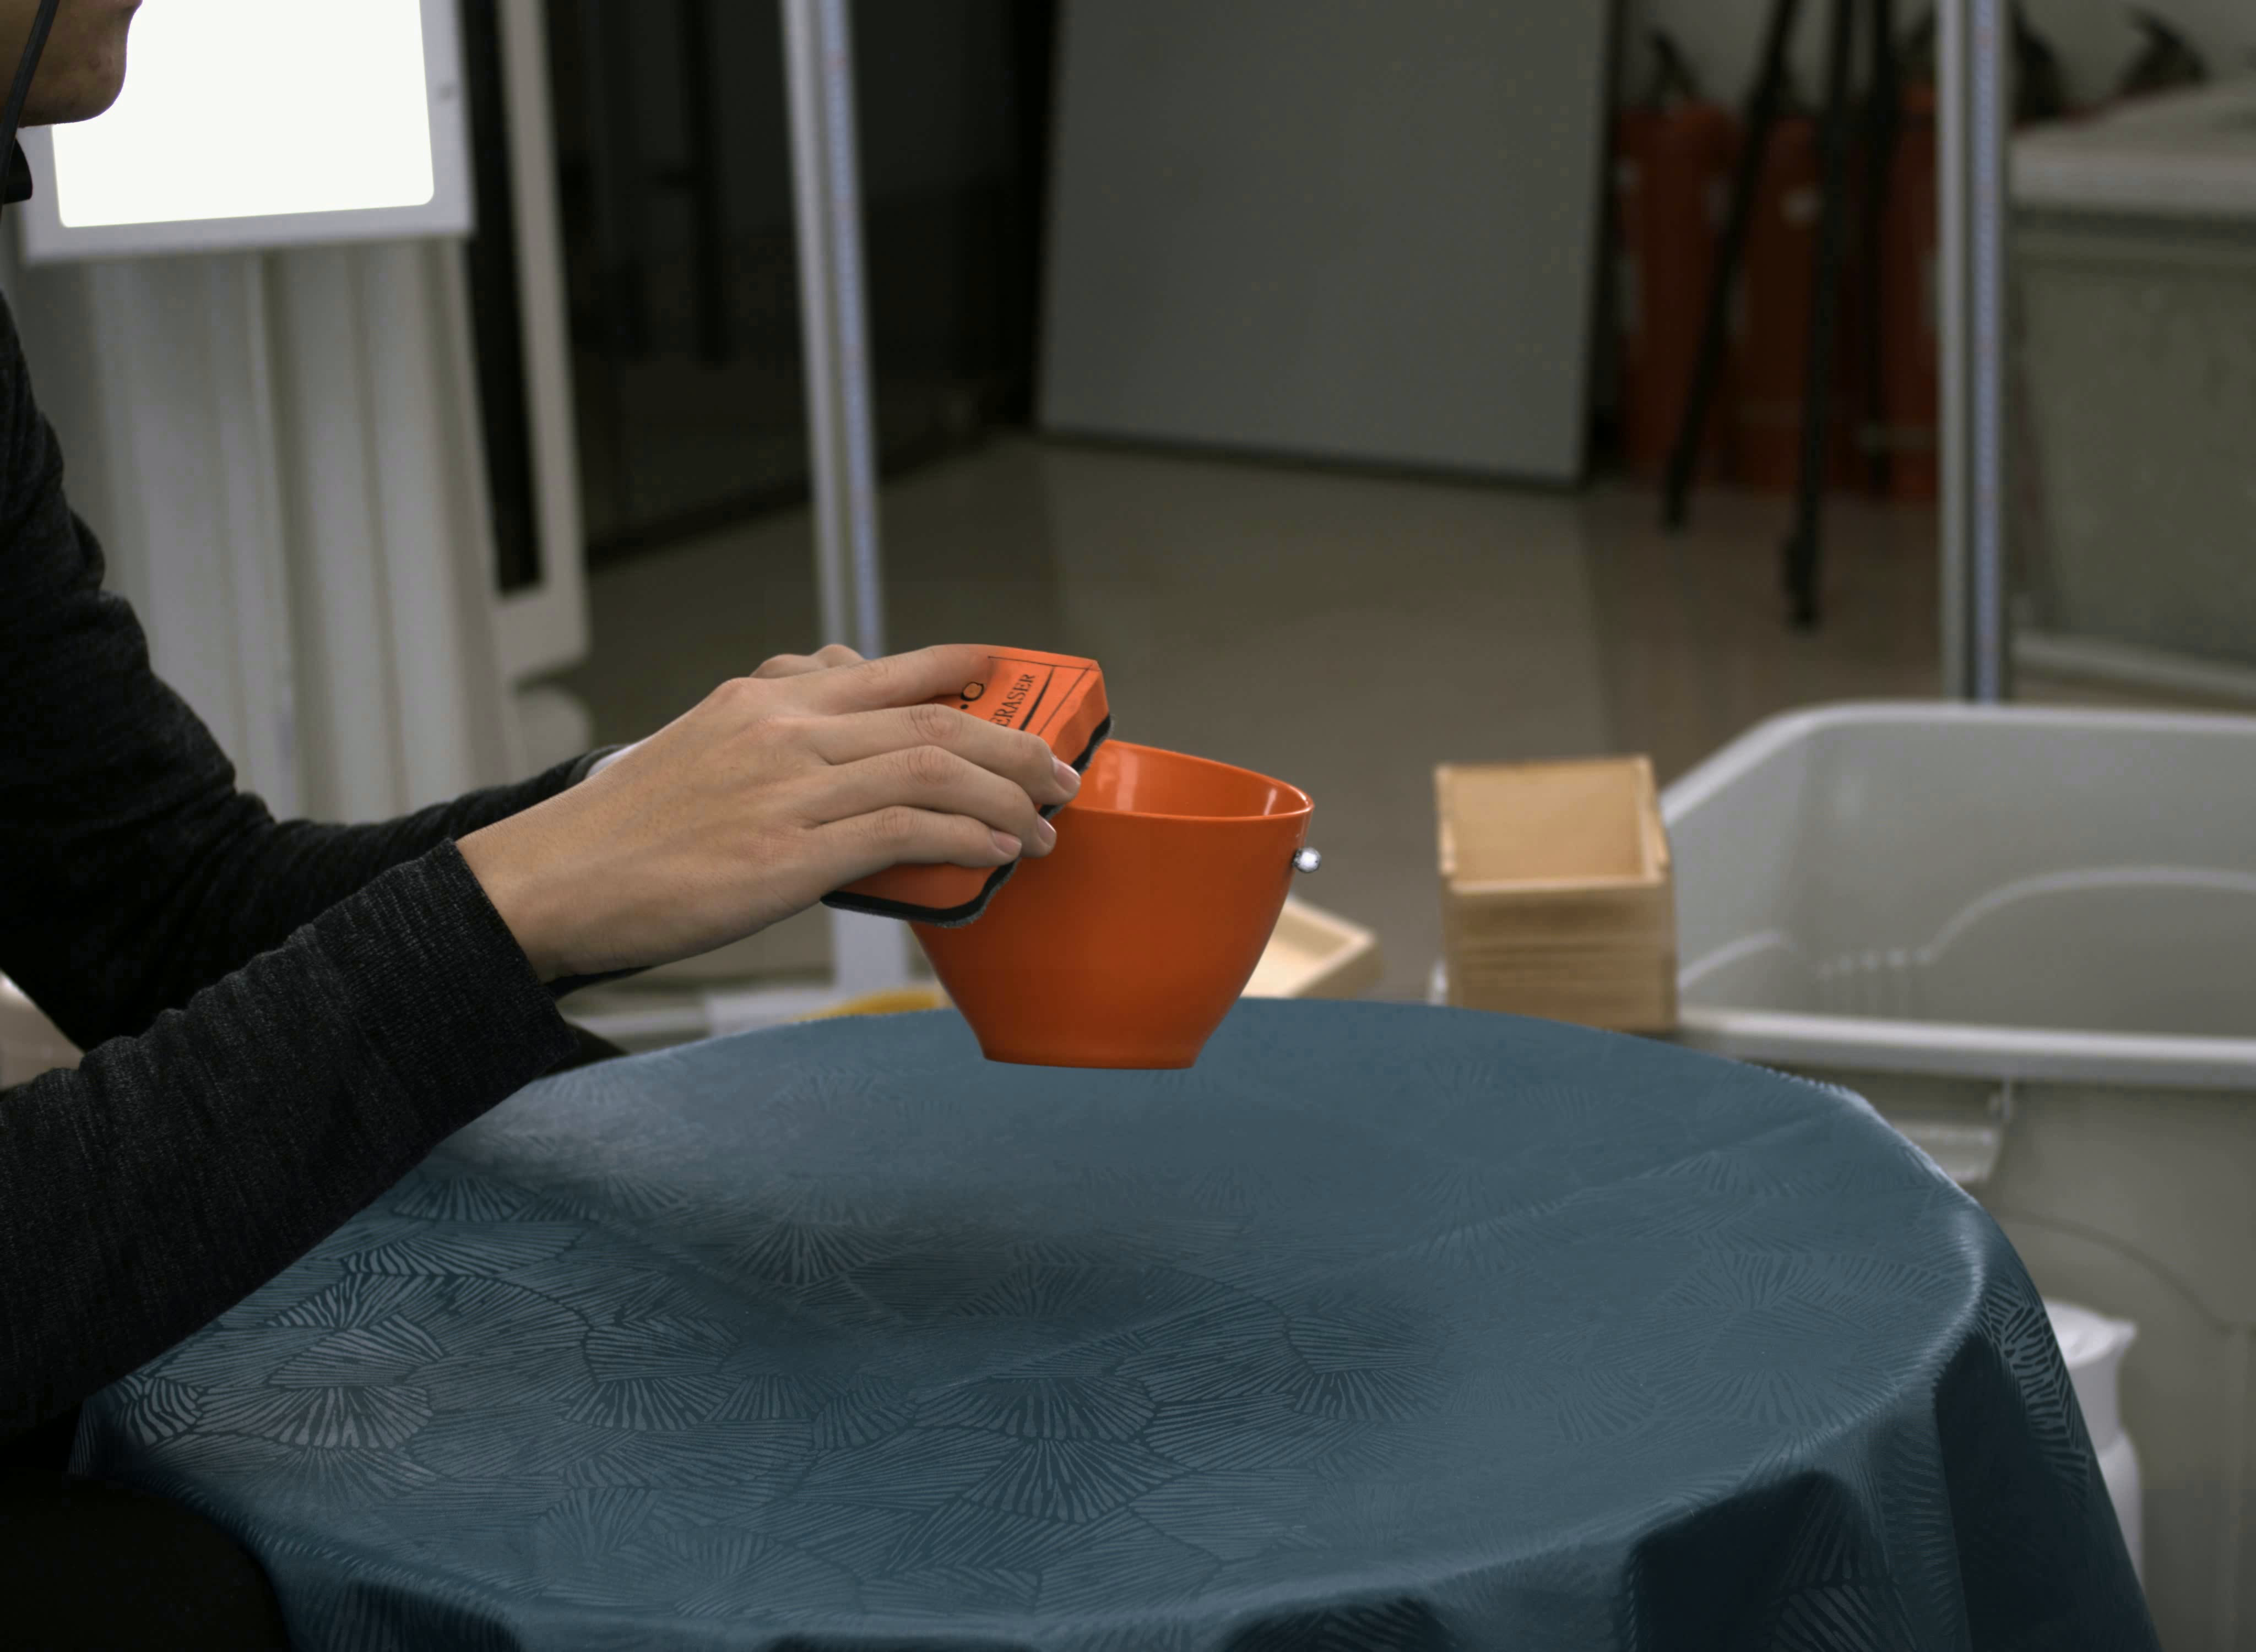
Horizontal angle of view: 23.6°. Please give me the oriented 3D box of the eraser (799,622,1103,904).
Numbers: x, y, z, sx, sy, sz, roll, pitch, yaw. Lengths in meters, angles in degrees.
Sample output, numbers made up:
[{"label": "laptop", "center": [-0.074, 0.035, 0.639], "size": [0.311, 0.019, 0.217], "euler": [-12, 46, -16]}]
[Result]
[{"label": "eraser", "center": [-0.052, -0.020, 1.609], "size": [0.059, 0.023, 0.107], "euler": [9, 40, 24]}]

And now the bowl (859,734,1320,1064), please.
[{"label": "bowl", "center": [-0.013, 0.022, 1.691], "size": [0.146, 0.106, 0.148], "euler": [2, -2, -1]}]
